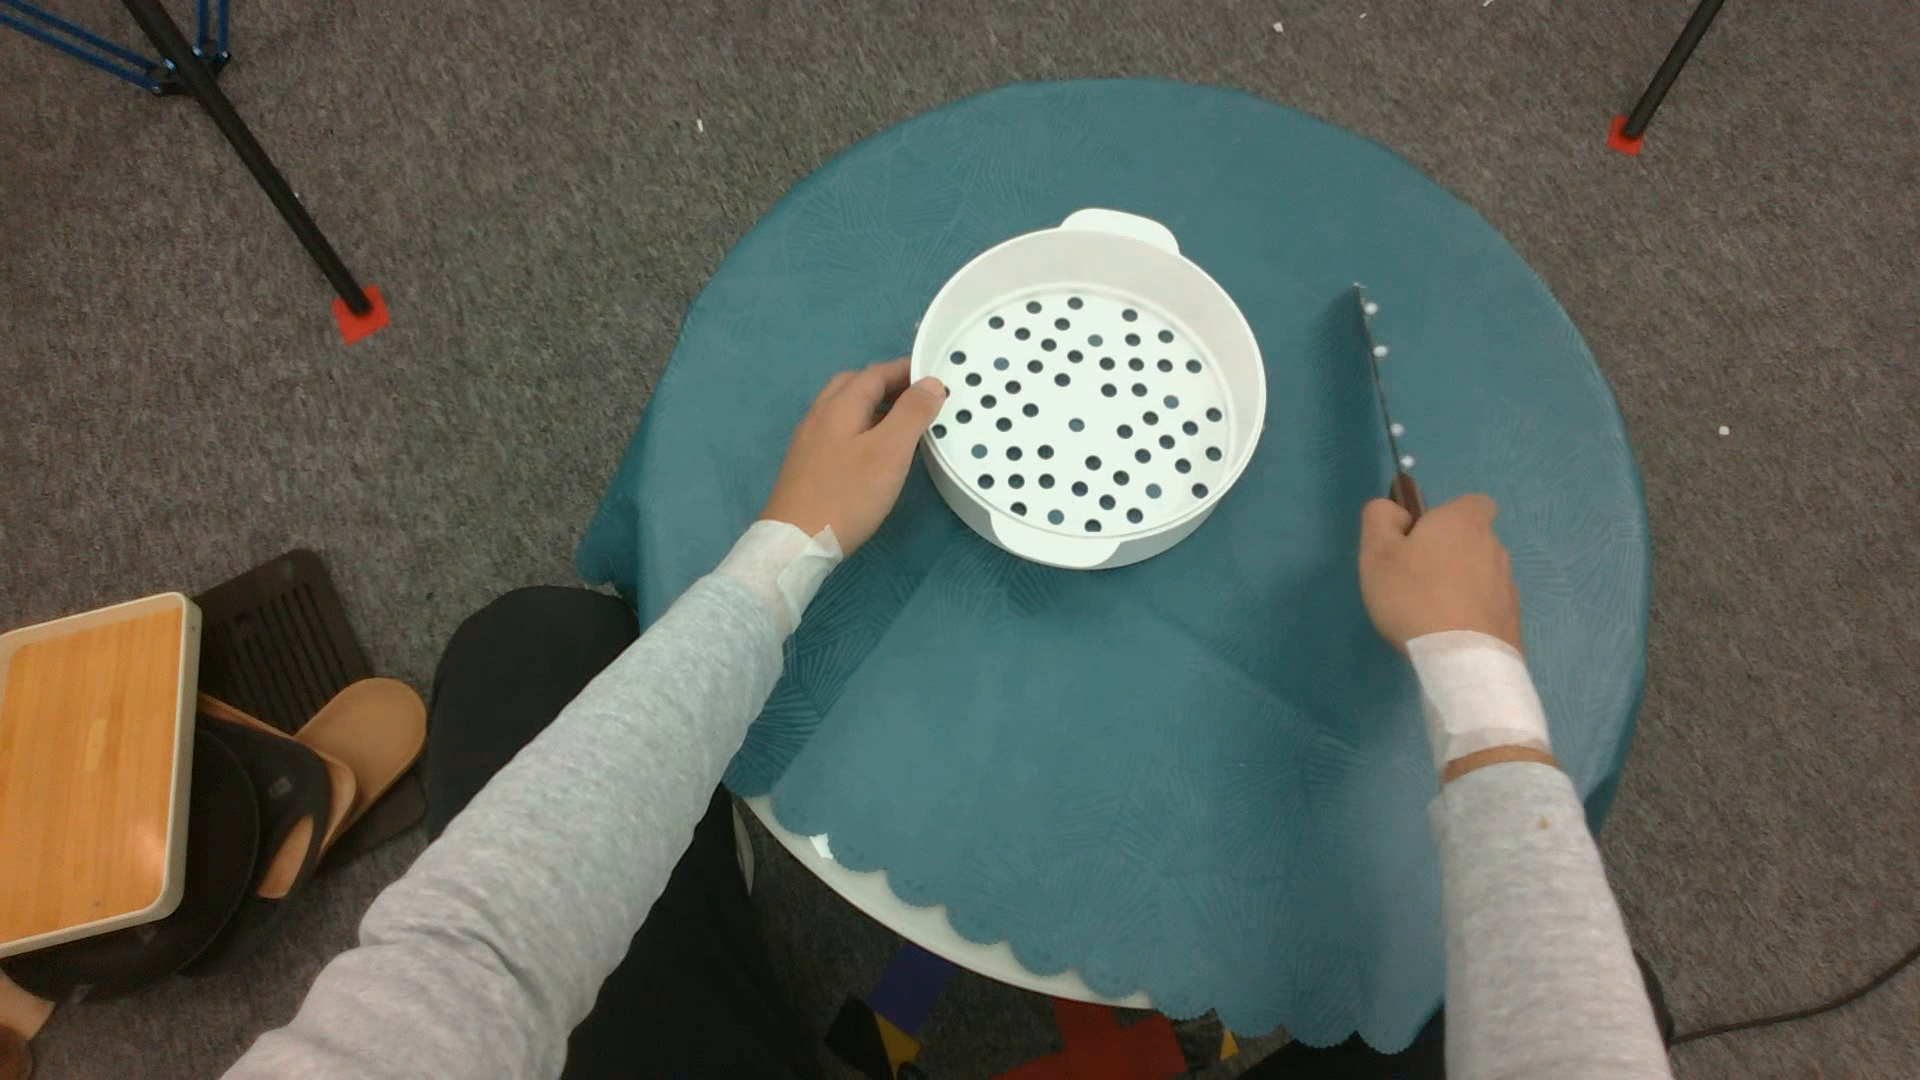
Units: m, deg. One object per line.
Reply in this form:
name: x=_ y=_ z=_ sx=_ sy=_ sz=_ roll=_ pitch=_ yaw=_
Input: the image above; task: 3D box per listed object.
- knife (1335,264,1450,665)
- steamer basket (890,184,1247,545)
knife: x=0.240 y=-0.054 z=0.789 sx=0.020 sy=0.050 sz=0.290 roll=-9 pitch=55 yaw=11
steamer basket: x=0.061 y=-0.095 z=0.801 sx=0.202 sy=0.069 sz=0.231 roll=13 pitch=68 yaw=2
